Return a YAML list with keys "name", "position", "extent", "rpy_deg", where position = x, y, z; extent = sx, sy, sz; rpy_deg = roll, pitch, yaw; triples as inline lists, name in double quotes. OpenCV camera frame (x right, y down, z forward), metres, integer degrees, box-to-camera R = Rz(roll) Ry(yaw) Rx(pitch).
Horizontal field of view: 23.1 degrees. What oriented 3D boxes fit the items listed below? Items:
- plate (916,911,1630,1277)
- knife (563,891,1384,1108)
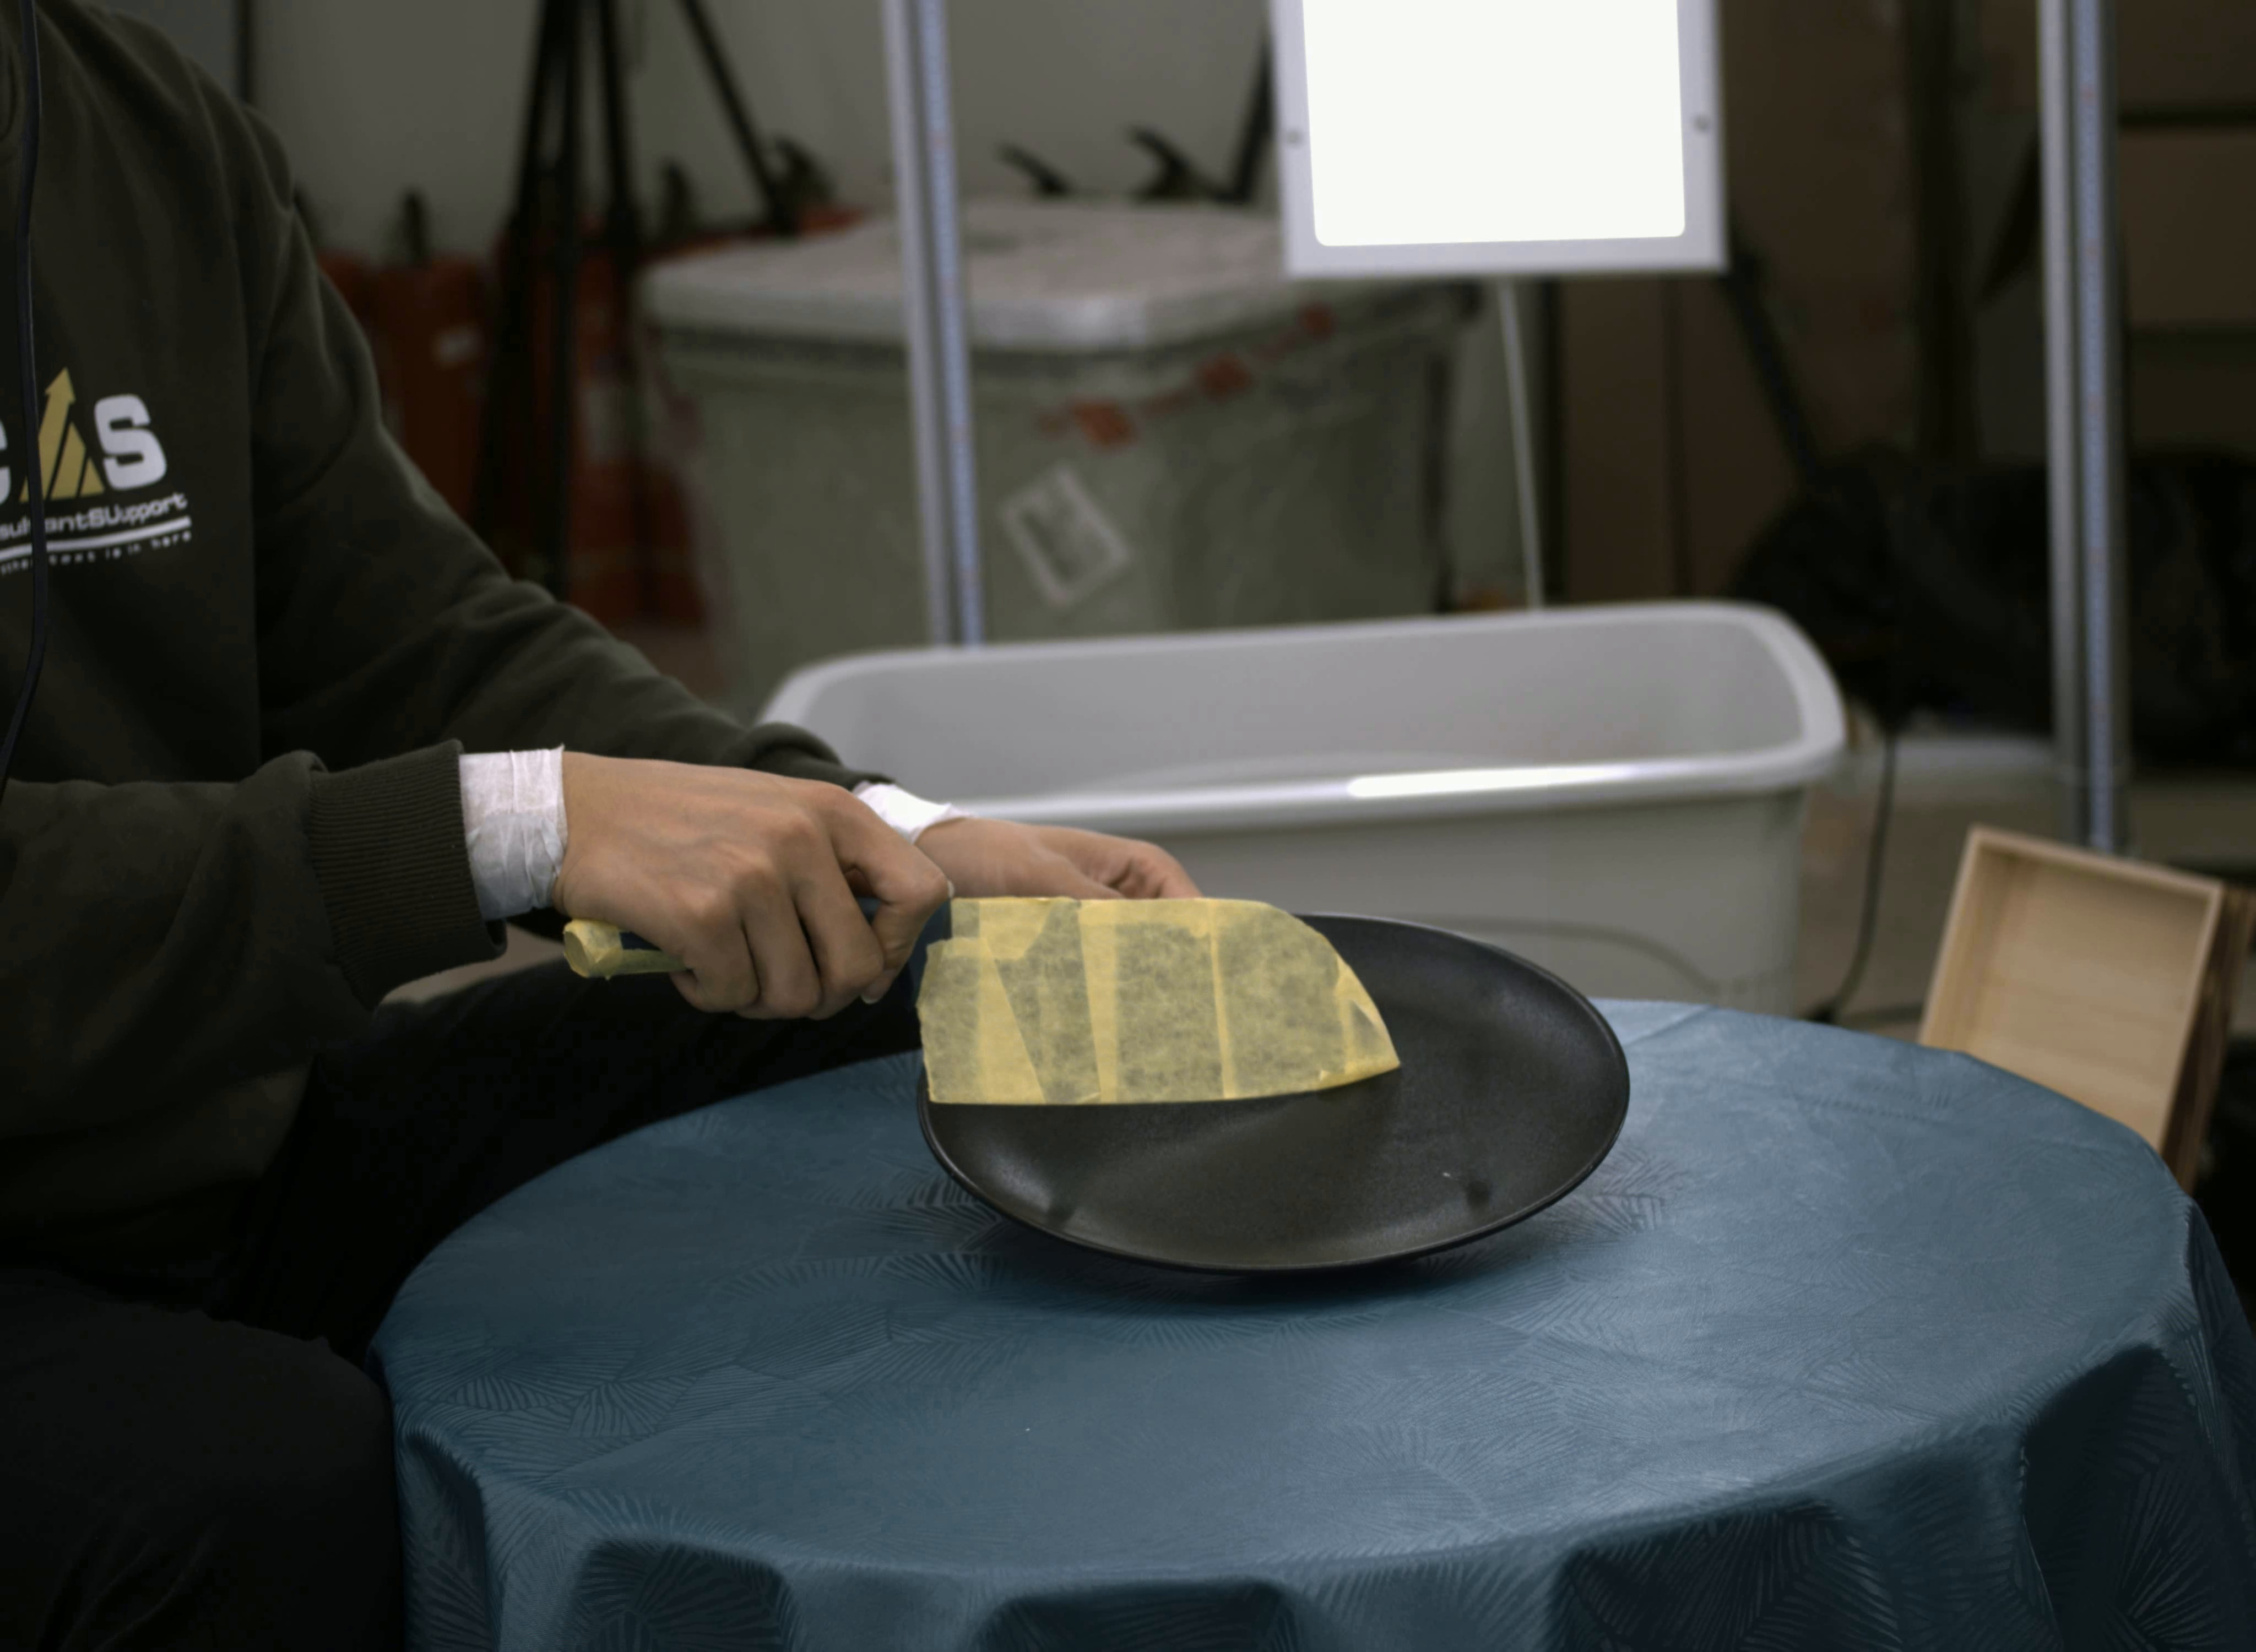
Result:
- name: "plate"
  position: [0.050, 0.096, 1.875]
  extent: [0.244, 0.023, 0.244]
  rpy_deg: [-3, 27, 0]
- name: "knife"
  position: [-0.049, 0.057, 1.868]
  extent: [0.285, 0.081, 0.027]
  rpy_deg: [2, -21, -14]
